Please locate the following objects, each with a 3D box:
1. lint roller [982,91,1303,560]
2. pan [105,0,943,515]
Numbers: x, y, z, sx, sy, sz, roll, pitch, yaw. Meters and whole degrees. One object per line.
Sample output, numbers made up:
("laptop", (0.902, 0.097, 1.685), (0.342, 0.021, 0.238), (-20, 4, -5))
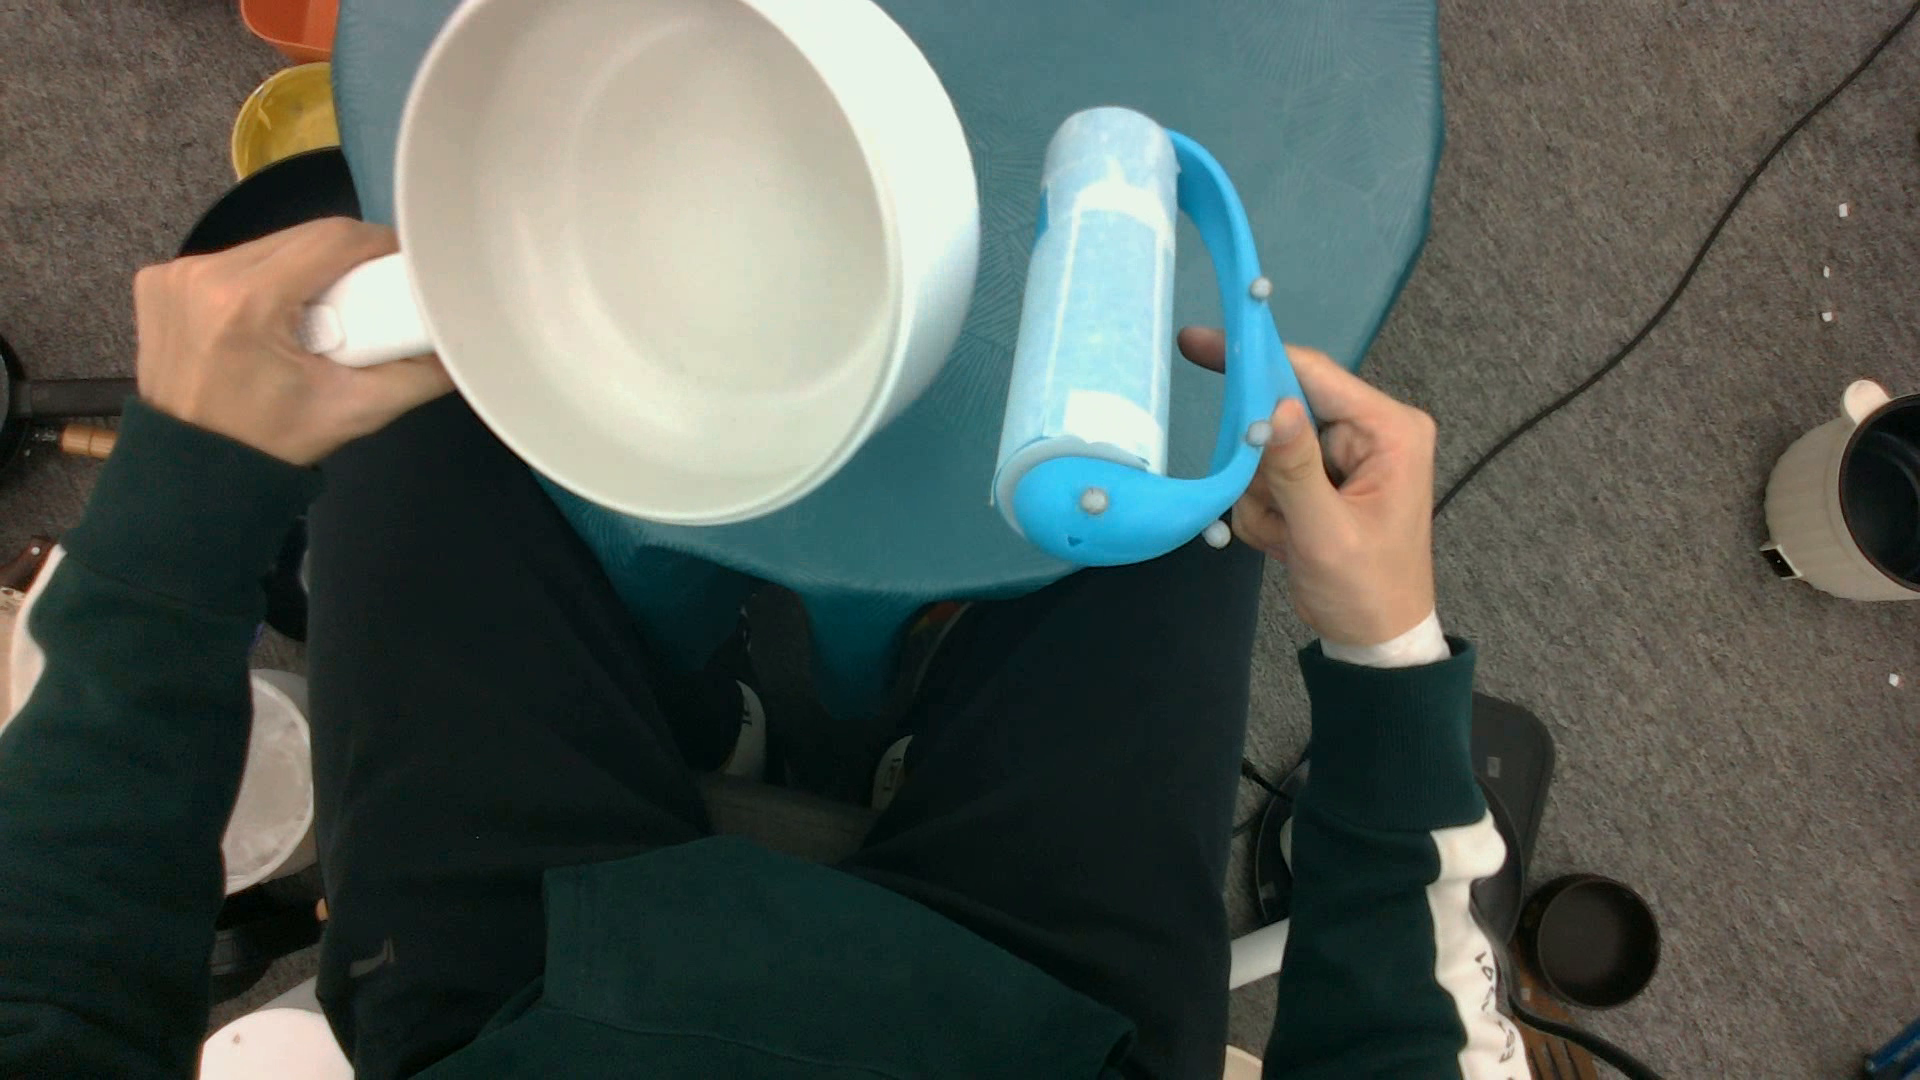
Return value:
("lint roller", (0.087, -0.058, 0.514), (0.180, 0.067, 0.230), (34, 40, -28))
("pan", (-0.175, -0.109, 0.540), (0.354, 0.102, 0.201), (-8, 108, 25))
